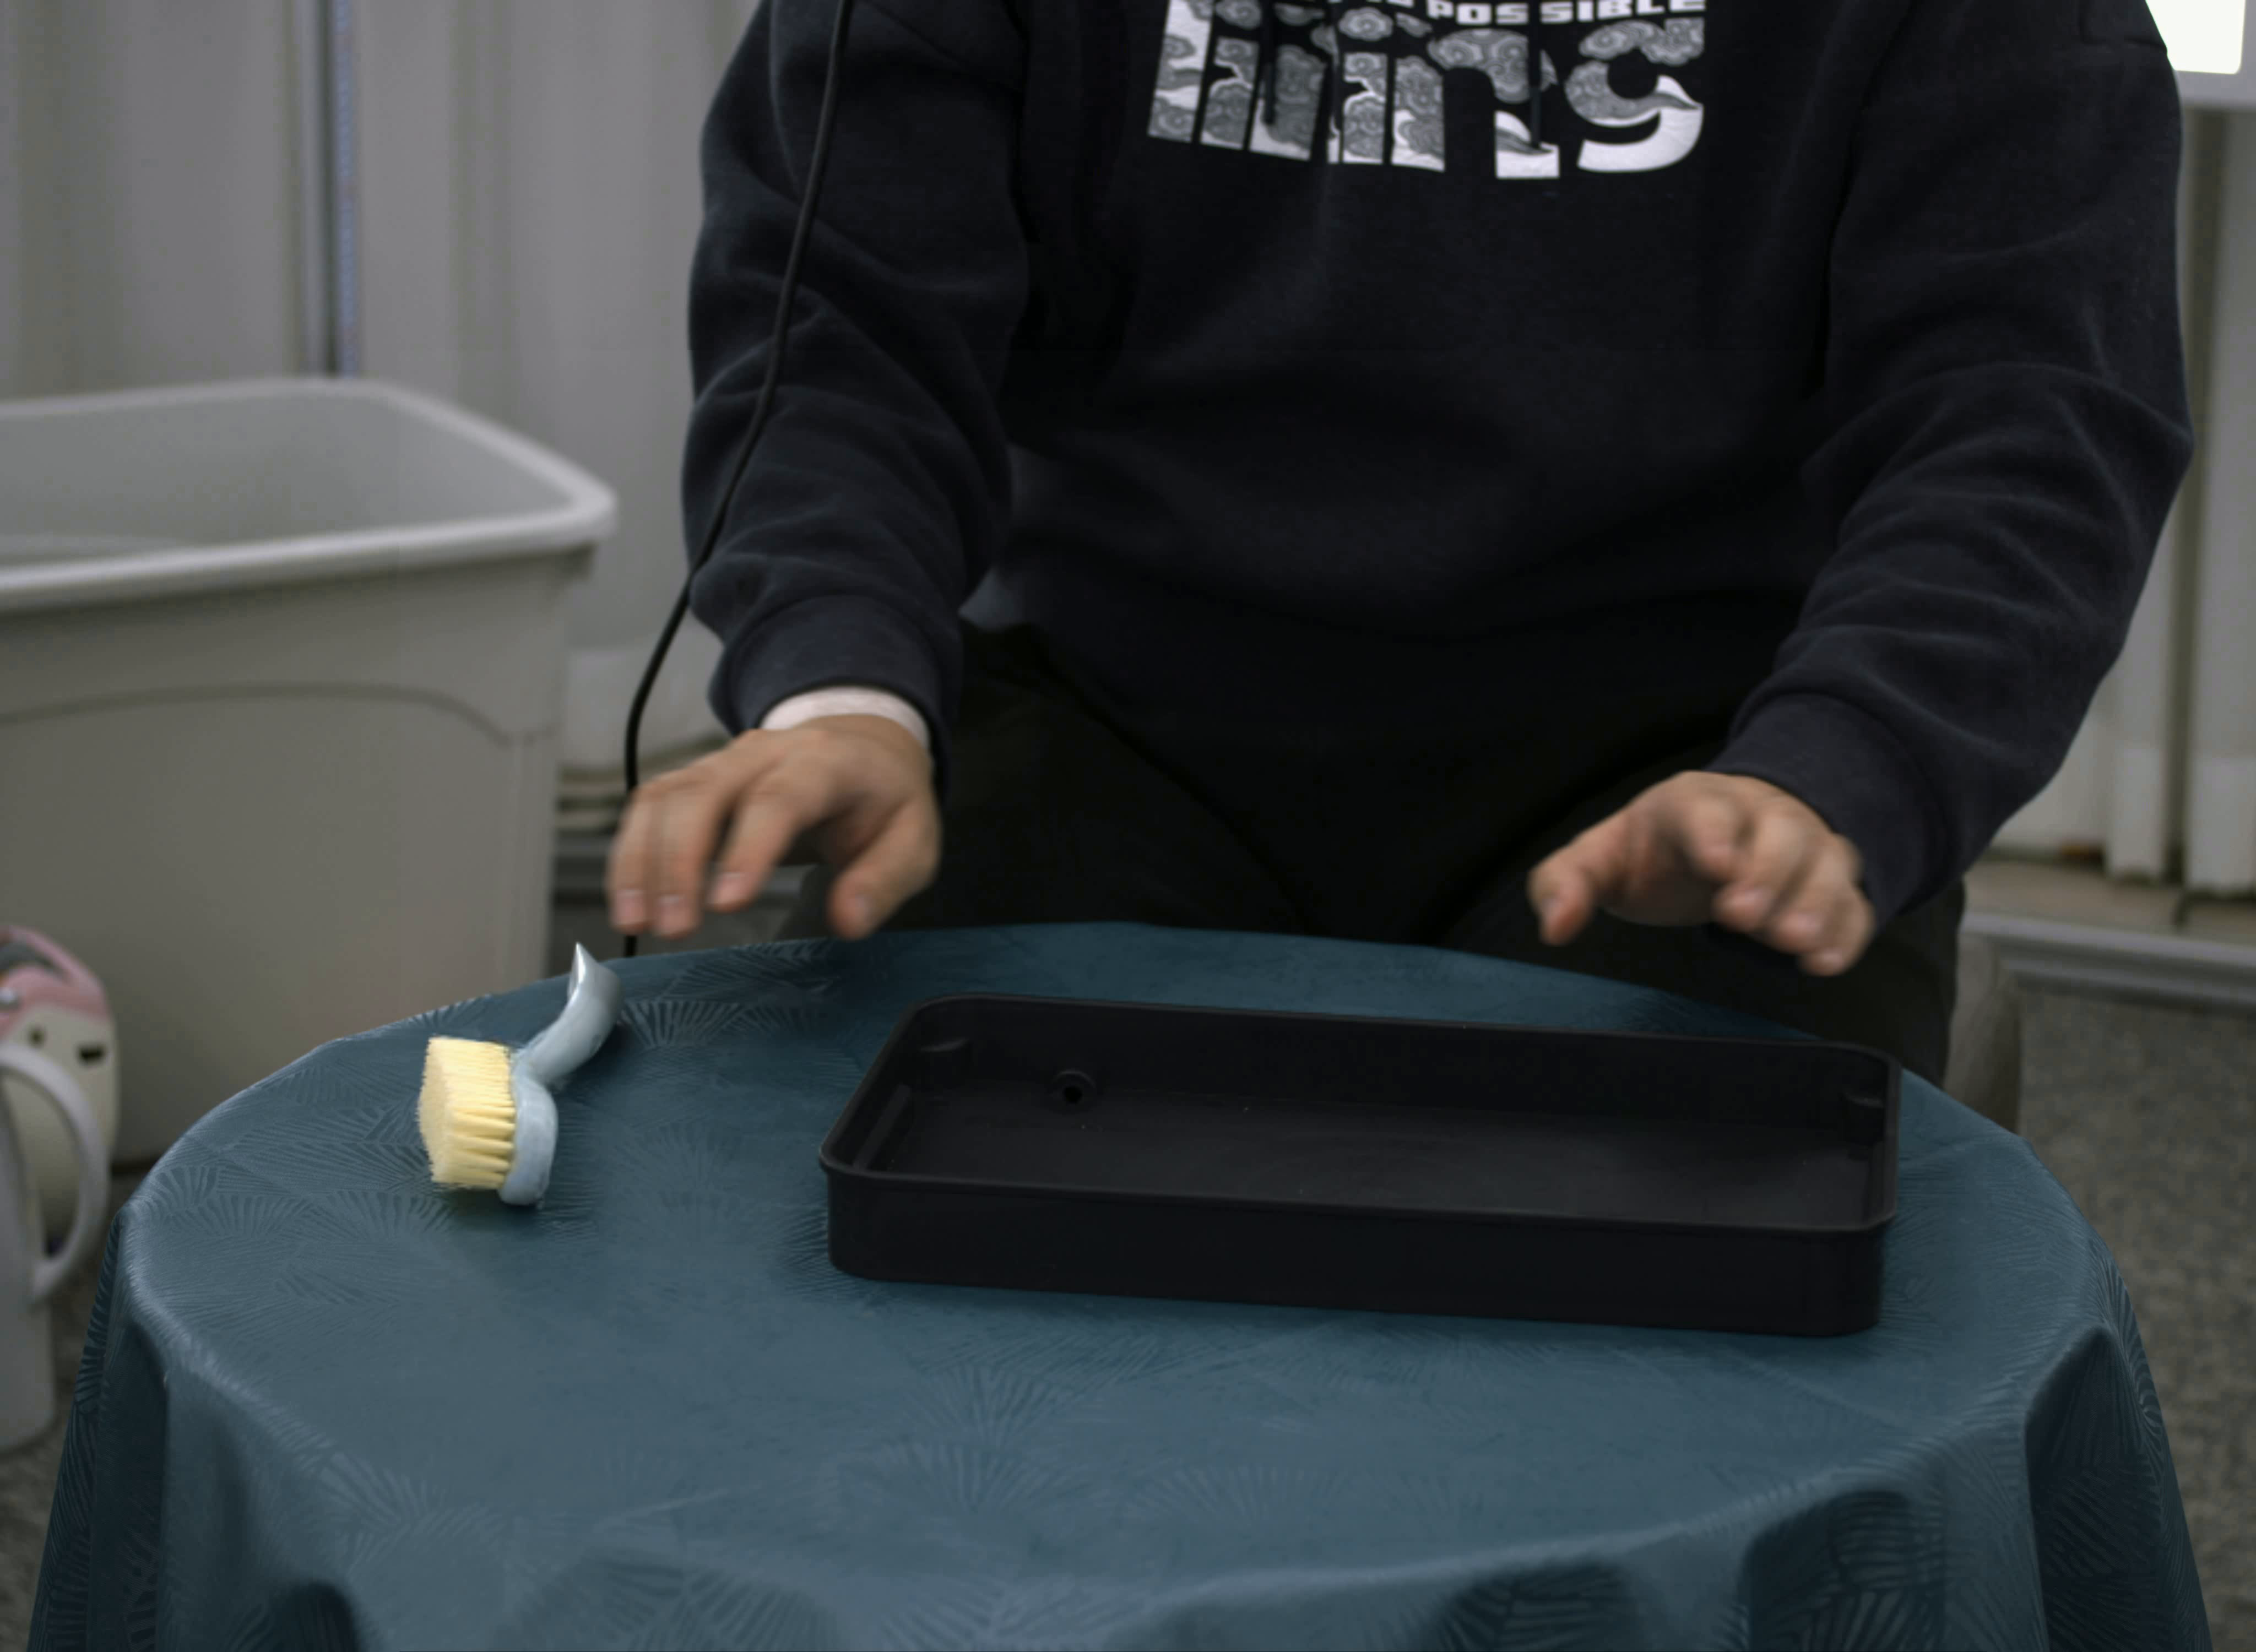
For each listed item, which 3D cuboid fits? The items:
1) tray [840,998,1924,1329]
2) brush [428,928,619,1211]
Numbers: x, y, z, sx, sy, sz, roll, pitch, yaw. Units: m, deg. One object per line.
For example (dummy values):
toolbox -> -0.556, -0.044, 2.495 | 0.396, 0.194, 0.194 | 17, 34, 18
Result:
tray -> 0.081, 0.101, 1.606 | 0.316, 0.037, 0.184 | 2, 15, 6
brush -> -0.195, 0.072, 1.693 | 0.049, 0.038, 0.227 | 7, 16, -1
